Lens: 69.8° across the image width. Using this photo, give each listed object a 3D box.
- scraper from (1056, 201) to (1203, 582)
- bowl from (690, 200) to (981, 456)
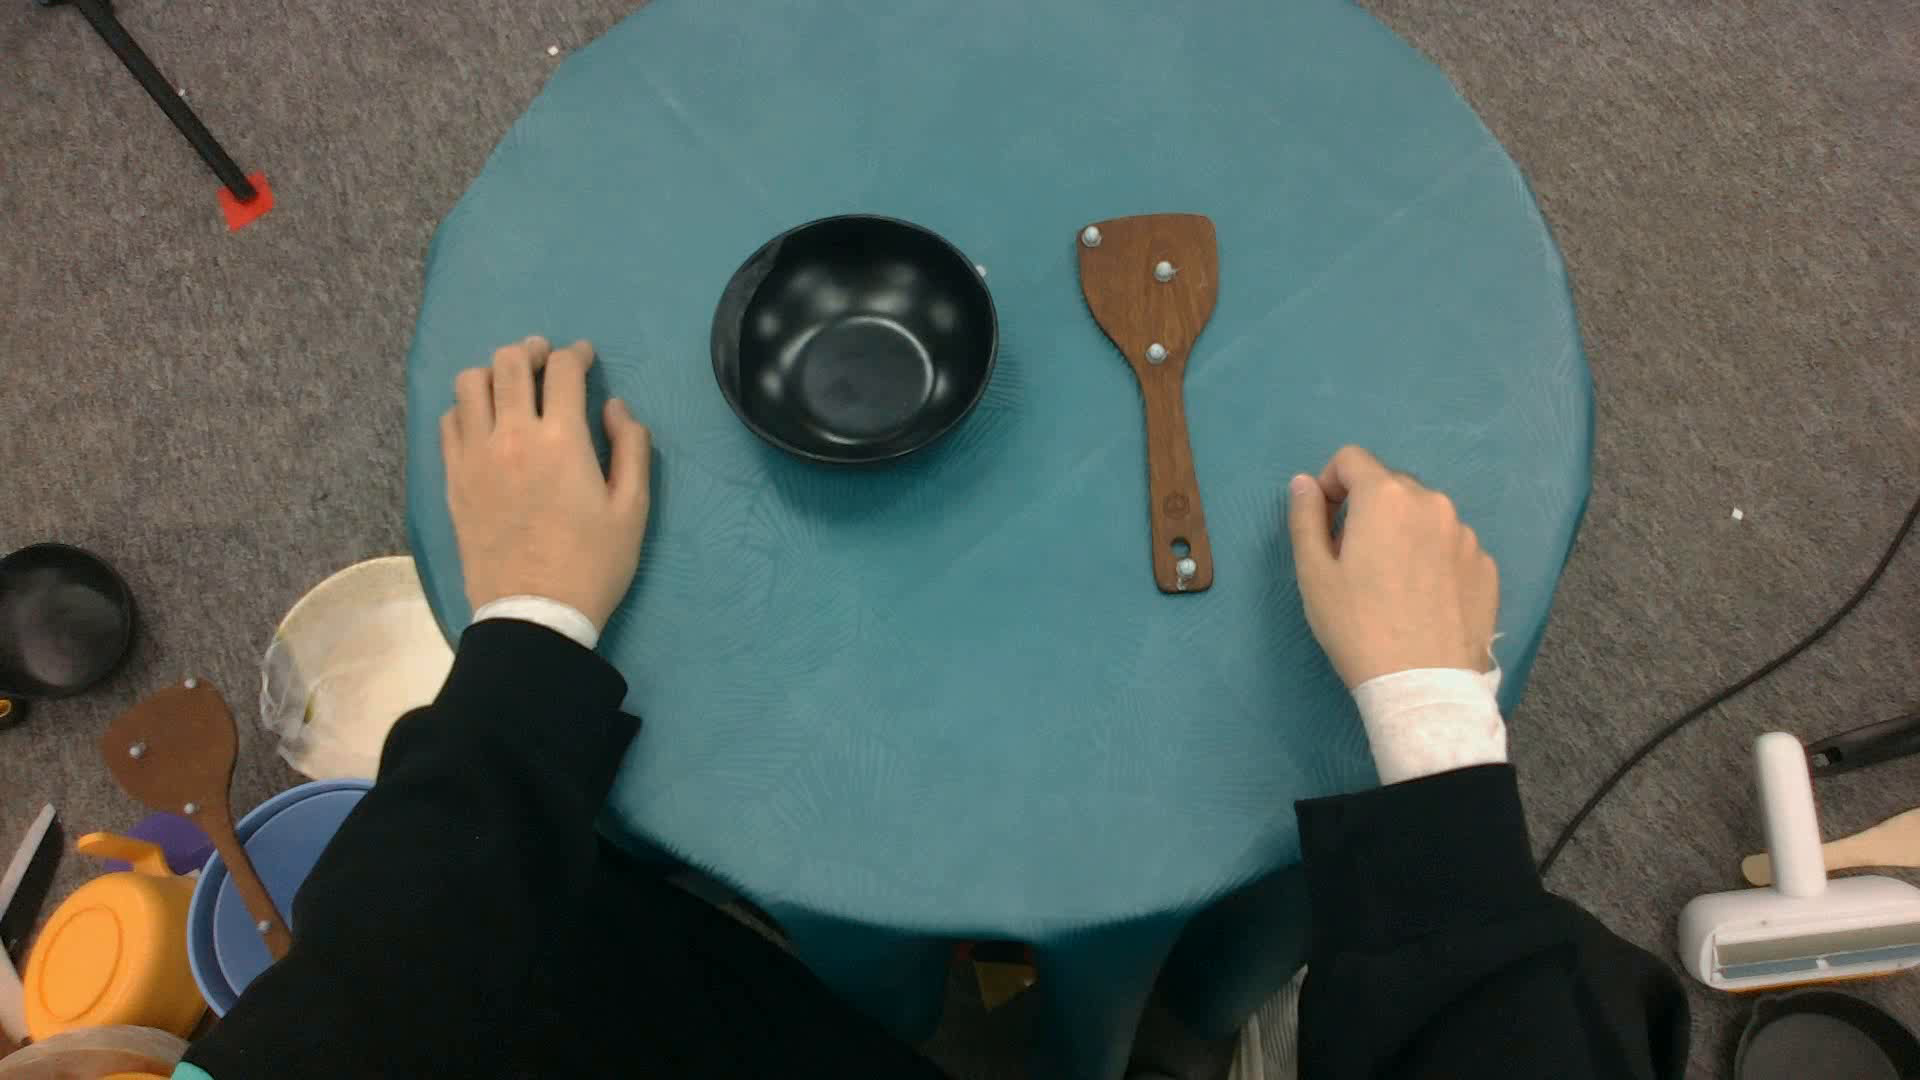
[{"bbox_3d":[0.093,-0.078,0.690,0.076,0.011,0.212,-4,68,1],"label":"scraper"},{"bbox_3d":[-0.060,-0.097,0.677,0.140,0.049,0.140,1,66,-2],"label":"bowl"}]
